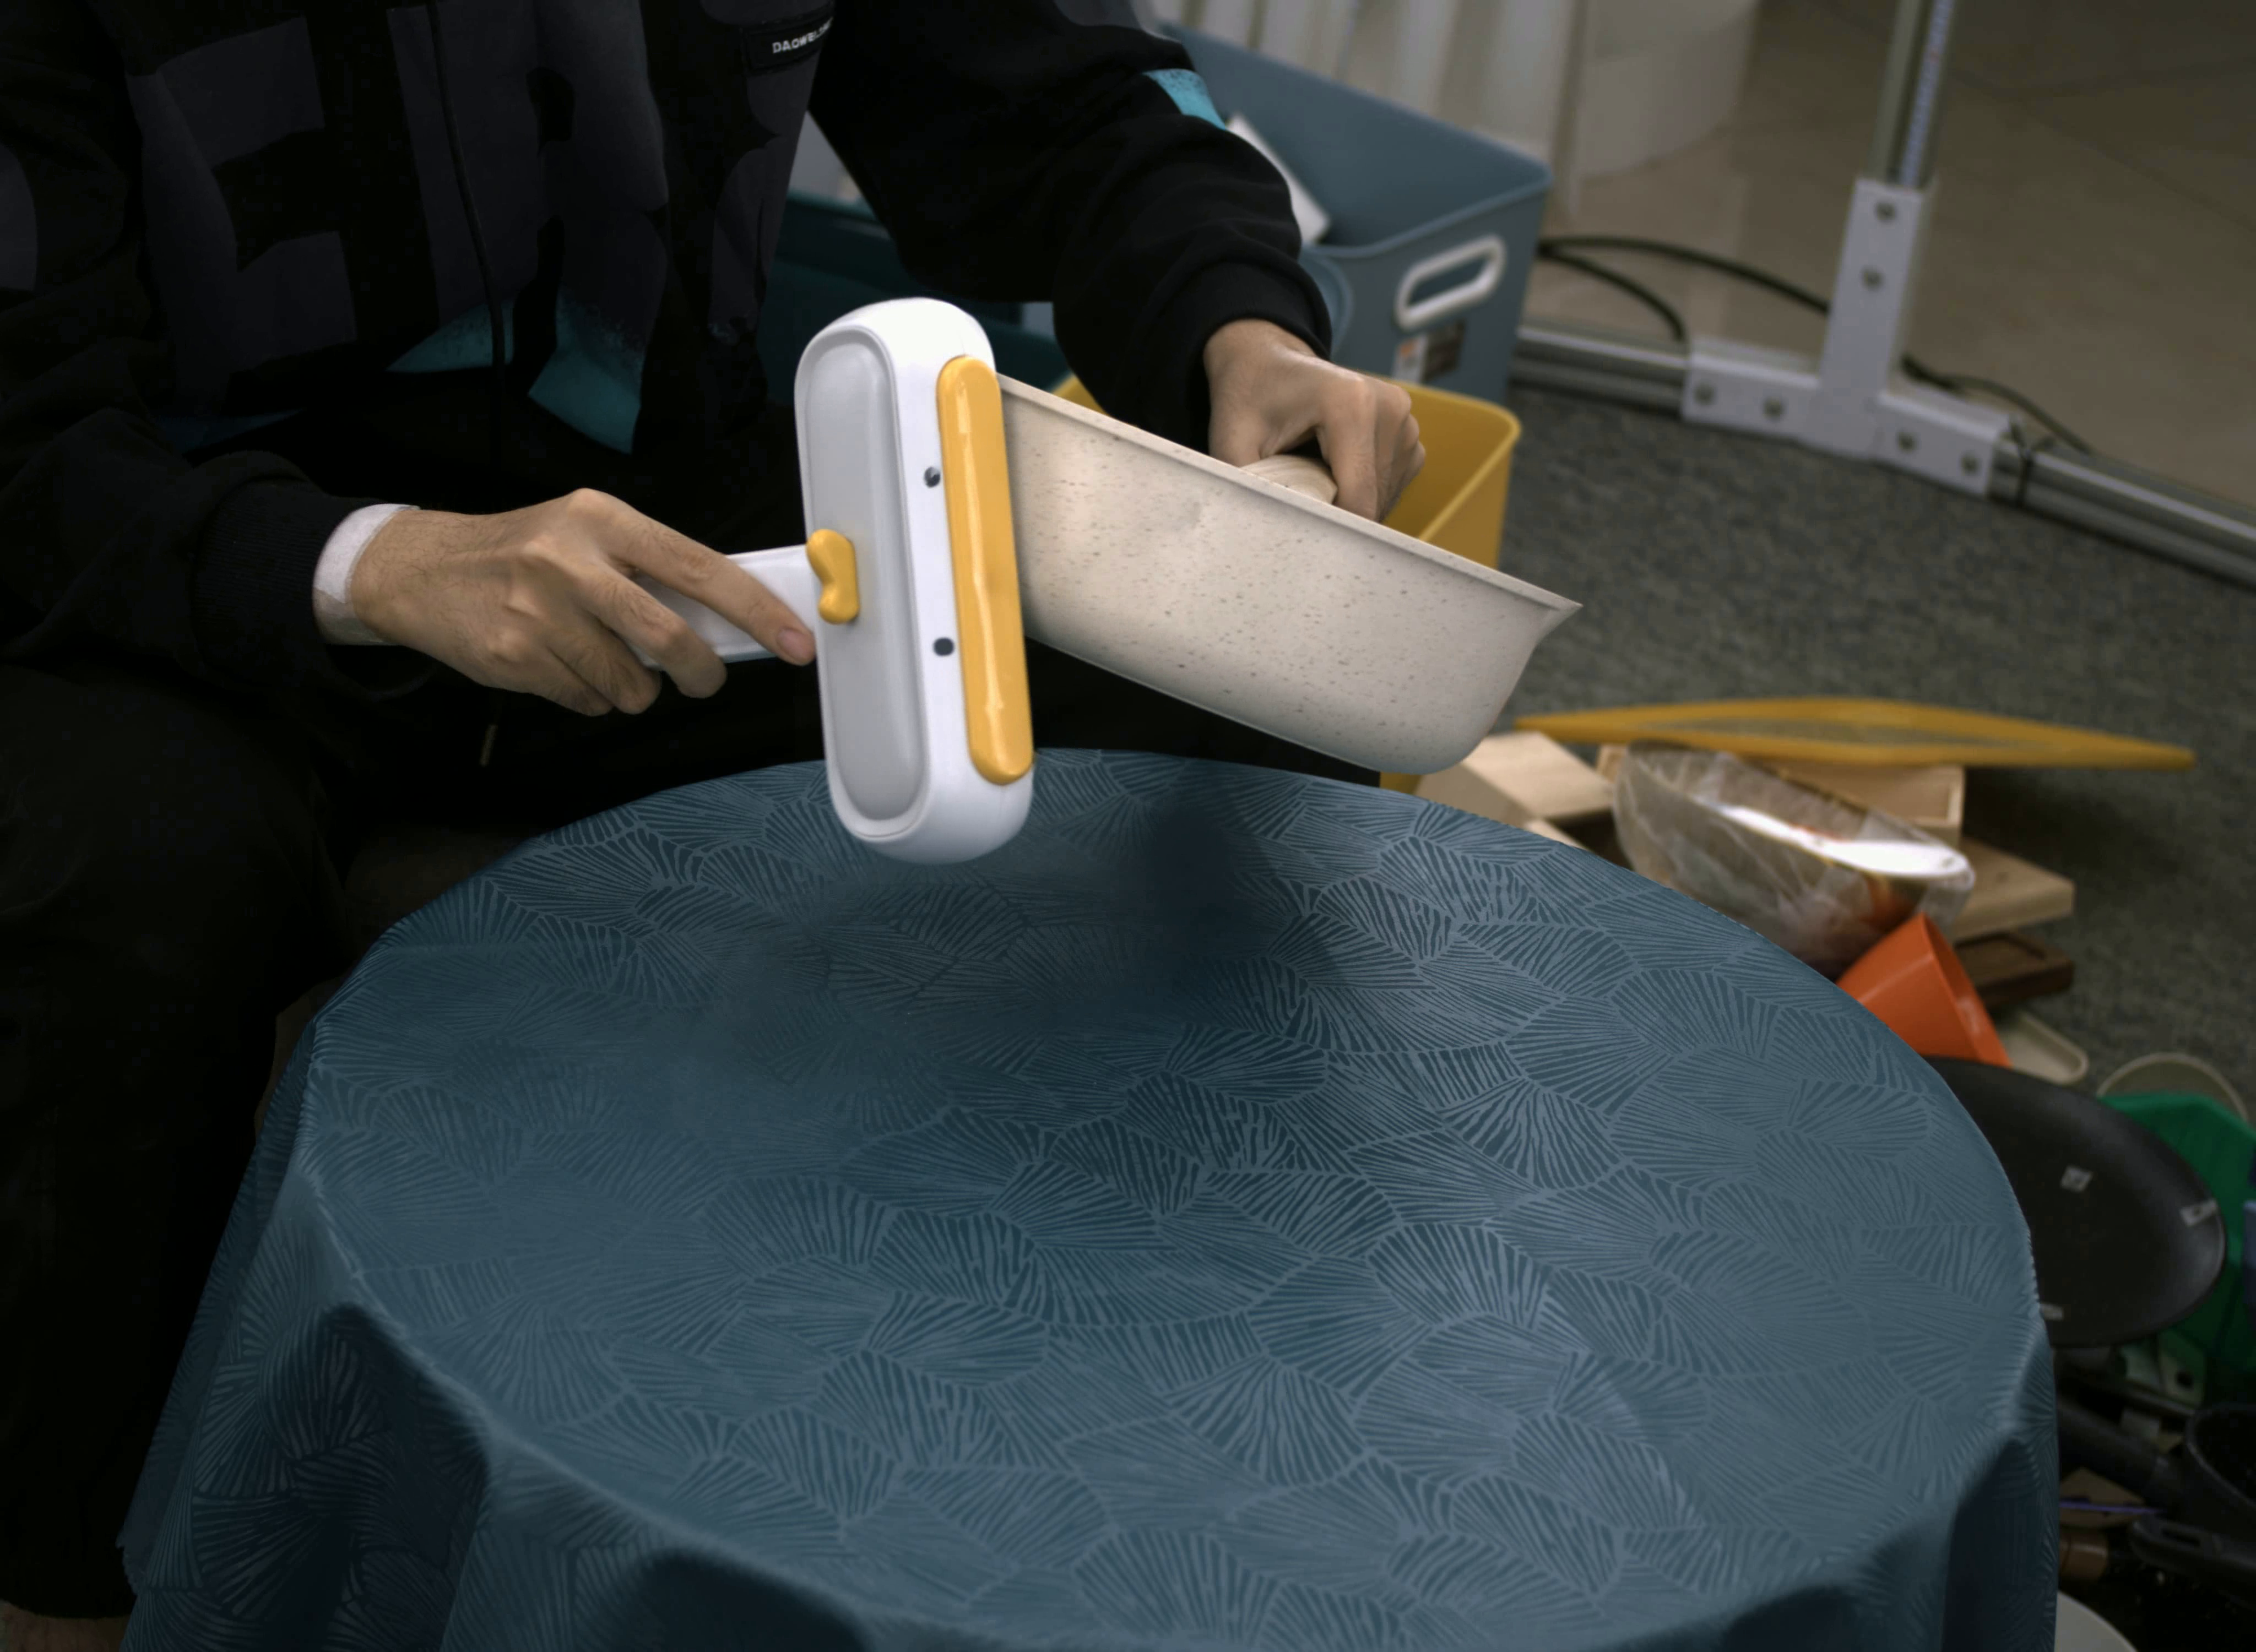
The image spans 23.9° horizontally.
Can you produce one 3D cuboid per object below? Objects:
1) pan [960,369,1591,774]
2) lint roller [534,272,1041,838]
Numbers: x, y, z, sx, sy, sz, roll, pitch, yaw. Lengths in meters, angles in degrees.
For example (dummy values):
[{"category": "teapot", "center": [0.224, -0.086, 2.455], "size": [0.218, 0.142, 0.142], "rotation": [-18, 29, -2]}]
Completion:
[{"category": "pan", "center": [0.043, -0.097, 2.001], "size": [0.263, 0.102, 0.434], "rotation": [20, 3, 7]}, {"category": "lint roller", "center": [-0.122, -0.081, 1.840], "size": [0.193, 0.193, 0.074], "rotation": [-13, -2, 39]}]
